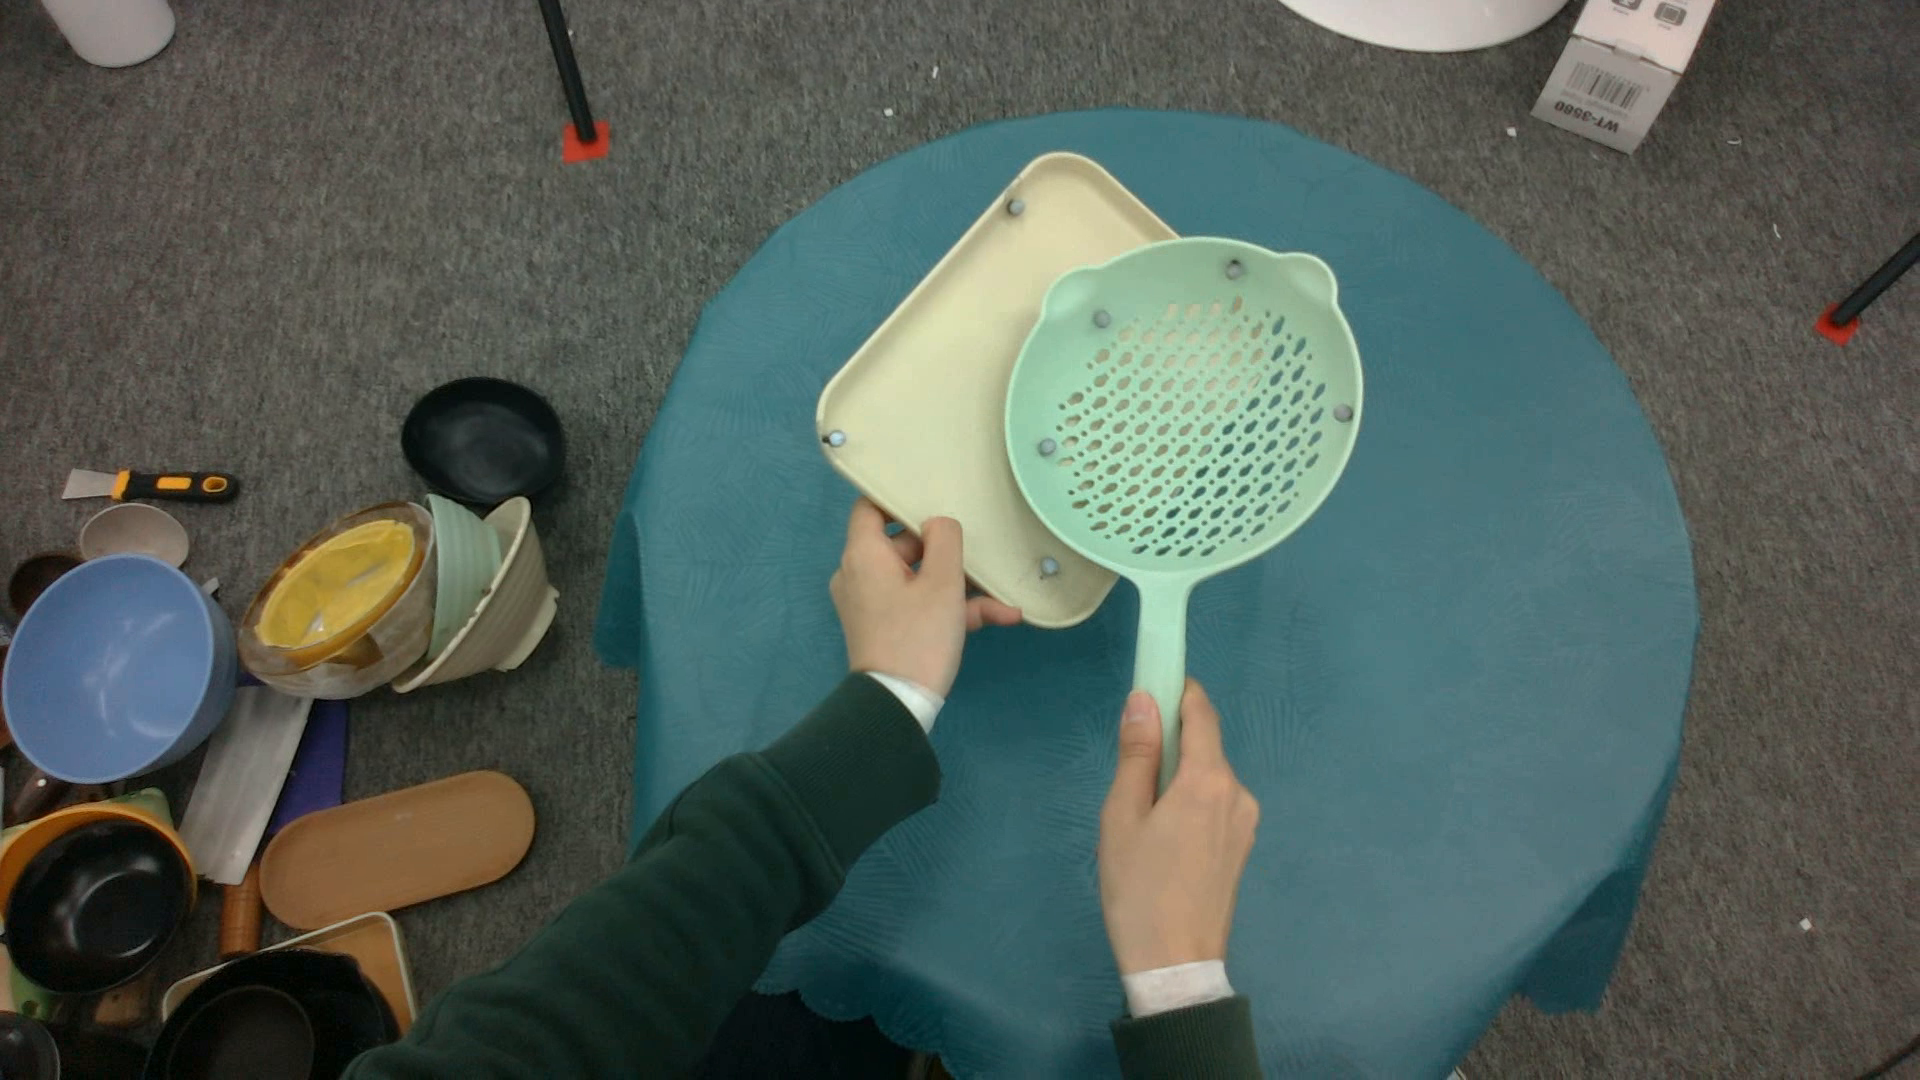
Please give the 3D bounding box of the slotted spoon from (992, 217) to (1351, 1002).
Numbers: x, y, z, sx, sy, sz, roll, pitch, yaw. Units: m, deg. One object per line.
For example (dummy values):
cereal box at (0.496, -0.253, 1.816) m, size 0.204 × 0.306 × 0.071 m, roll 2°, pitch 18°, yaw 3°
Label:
slotted spoon at (0.091, 0.022, 0.634) m, size 0.169 × 0.075 × 0.360 m, roll 0°, pitch 67°, yaw 20°

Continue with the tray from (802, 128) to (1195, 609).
tray at (0.042, -0.092, 0.704) m, size 0.171 × 0.017 × 0.240 m, roll 38°, pitch 65°, yaw -4°
